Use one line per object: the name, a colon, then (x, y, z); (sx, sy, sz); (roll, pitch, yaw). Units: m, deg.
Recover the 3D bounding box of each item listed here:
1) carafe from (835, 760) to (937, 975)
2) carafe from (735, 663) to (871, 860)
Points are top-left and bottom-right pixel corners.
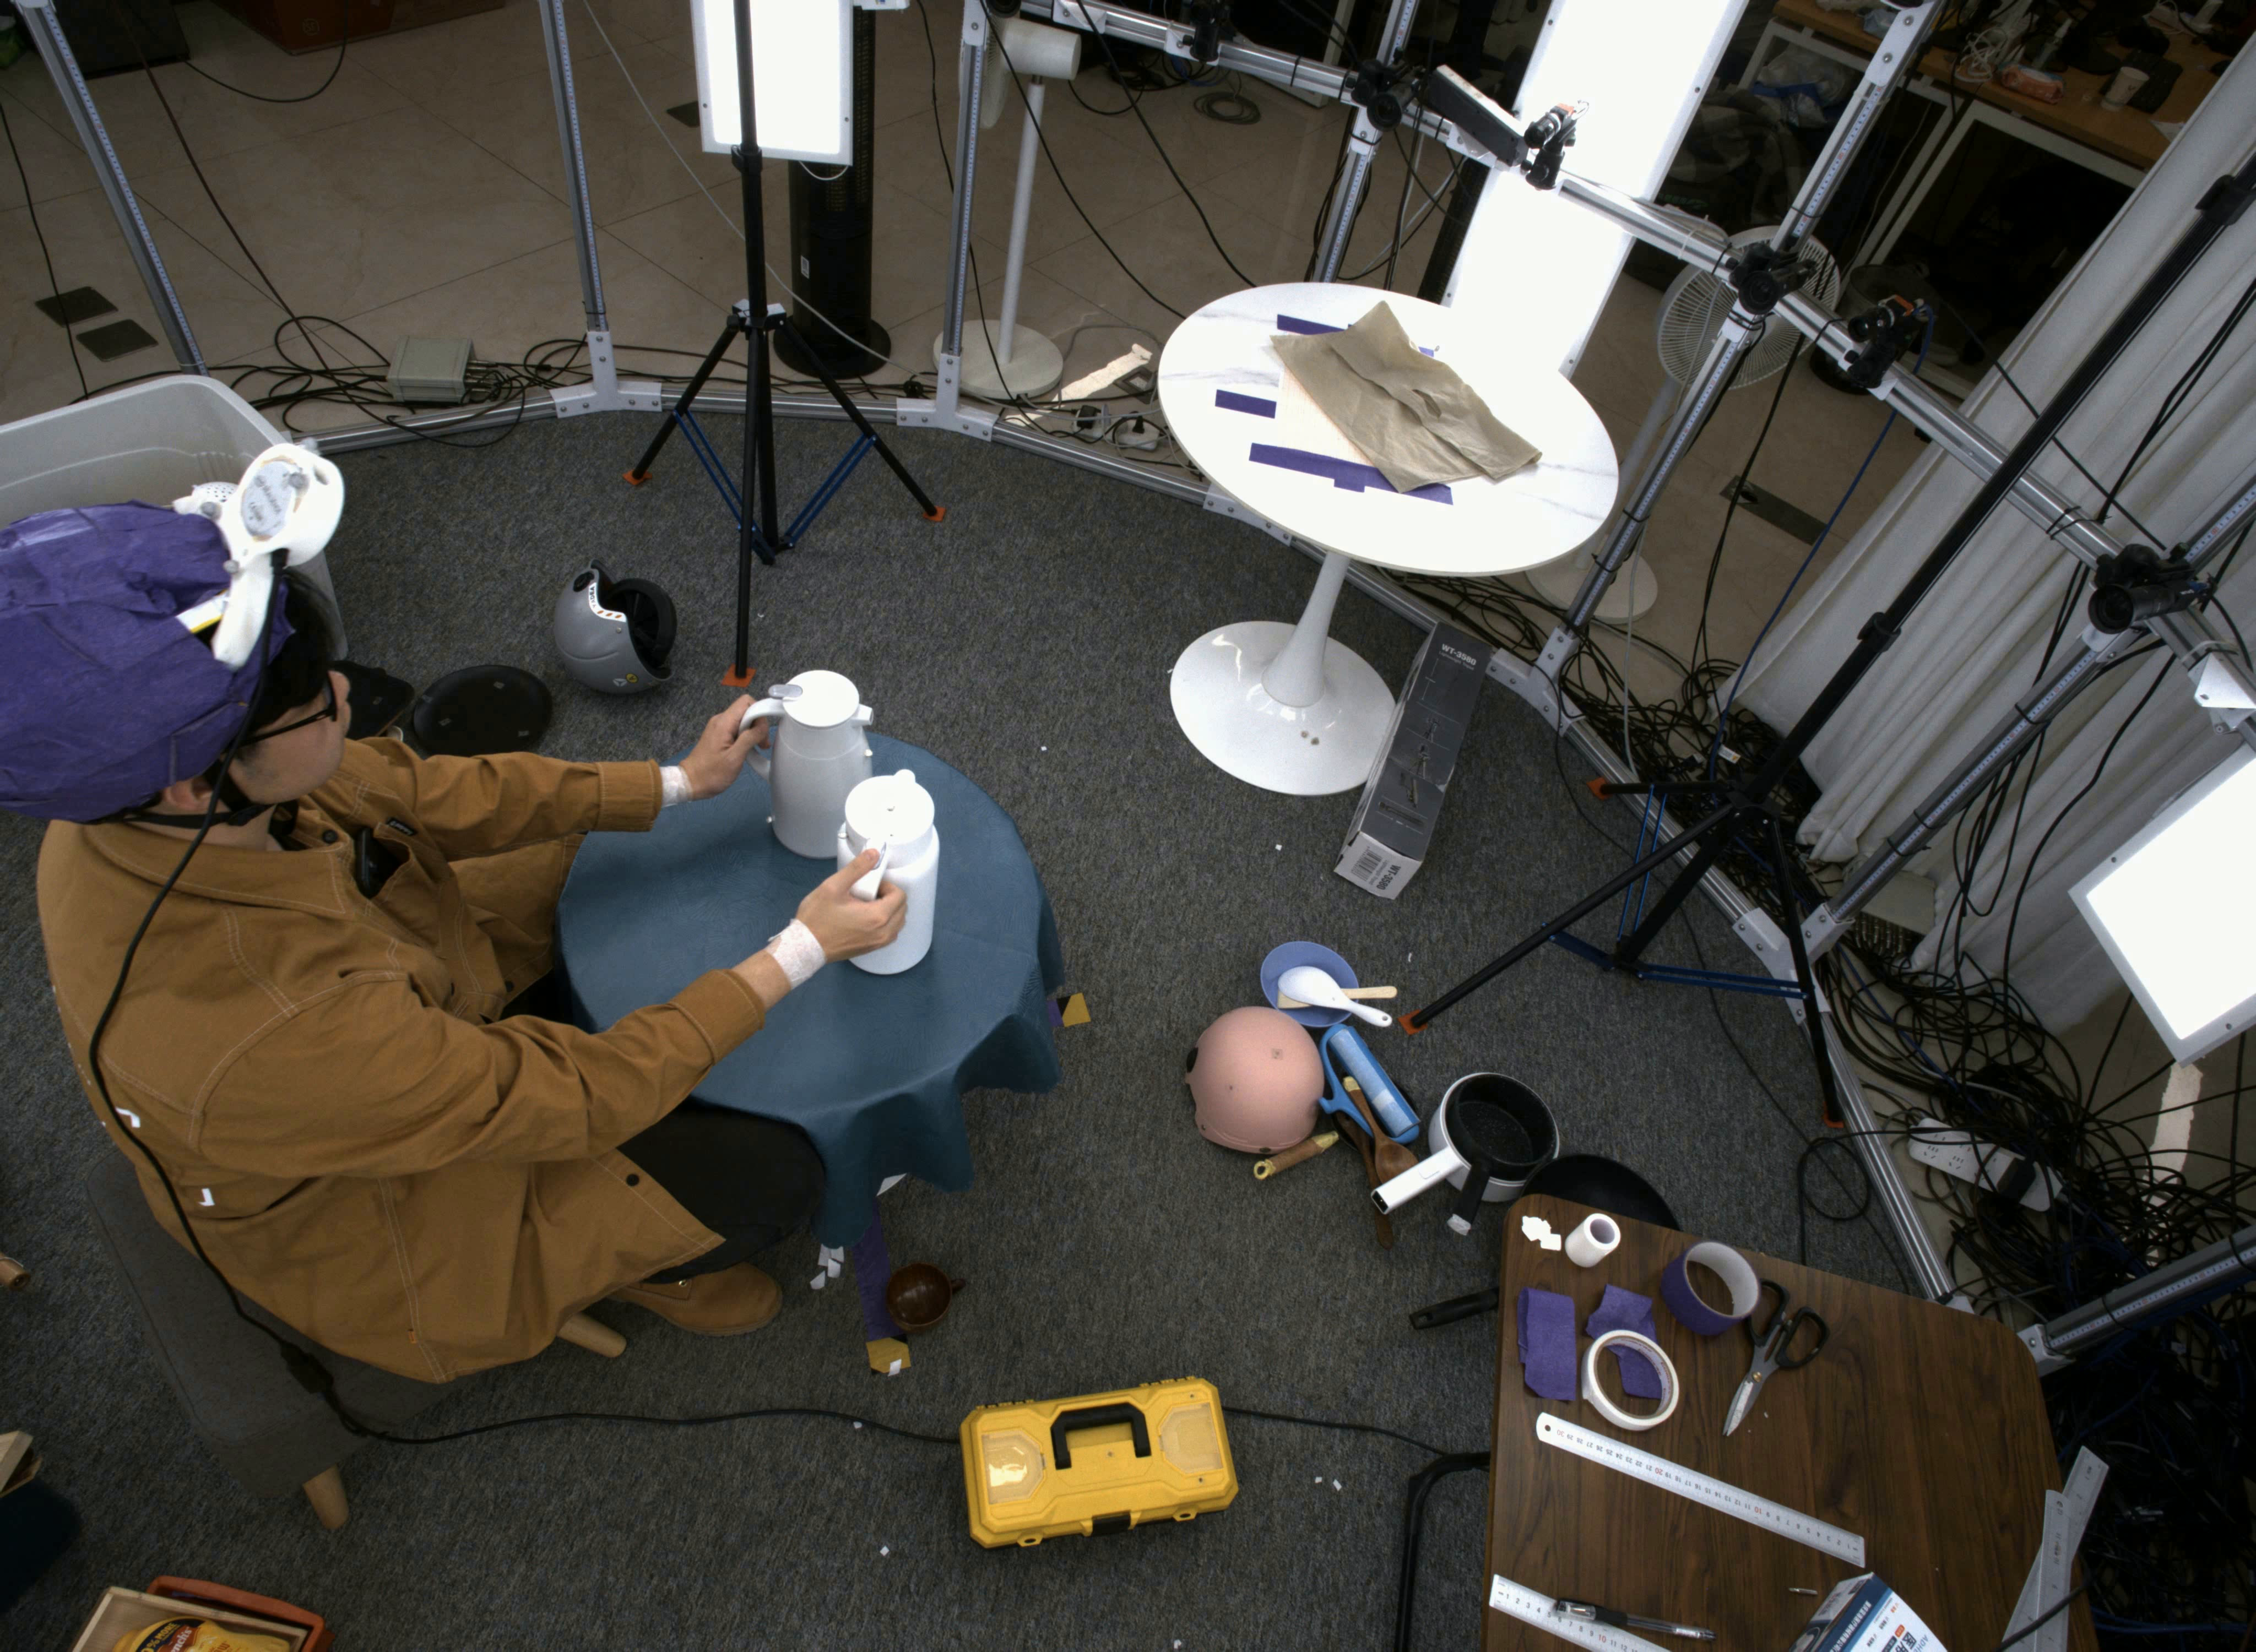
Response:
carafe: (-0.289, 0.070, 1.530); (0.123, 0.274, 0.170); (15, 51, -2)
carafe: (-0.408, -0.088, 1.631); (0.167, 0.254, 0.130); (7, 51, -6)
